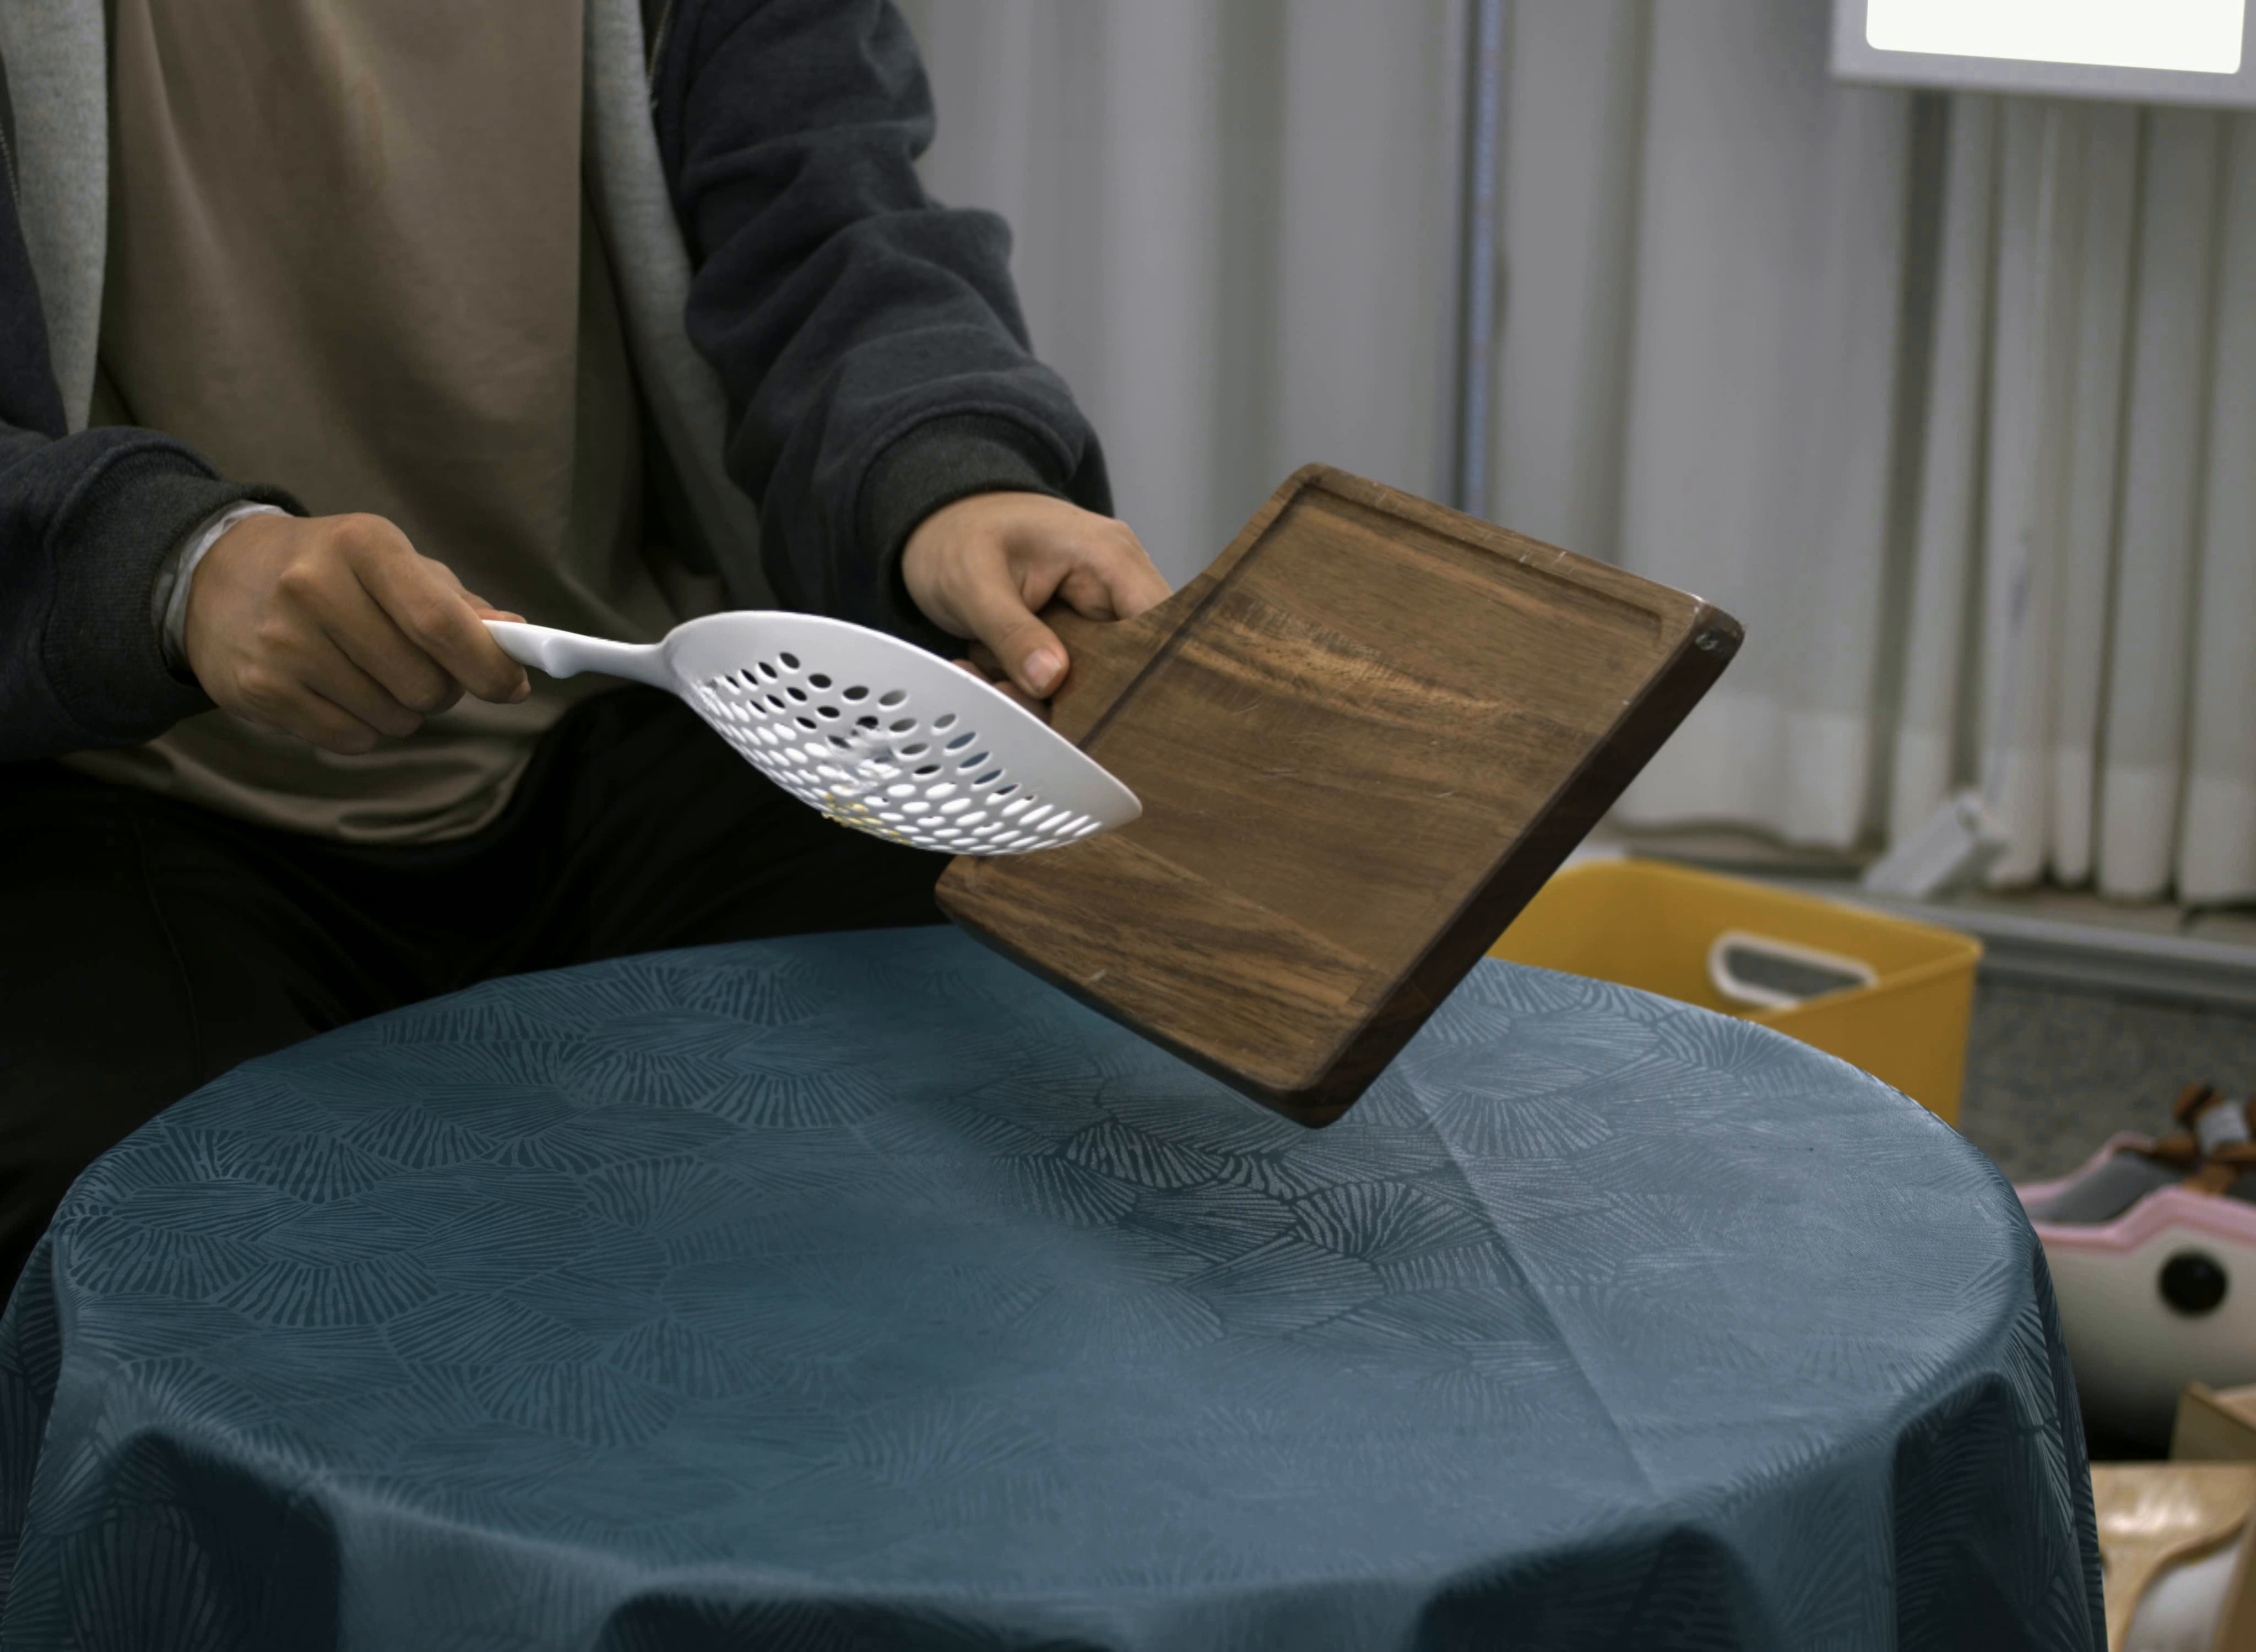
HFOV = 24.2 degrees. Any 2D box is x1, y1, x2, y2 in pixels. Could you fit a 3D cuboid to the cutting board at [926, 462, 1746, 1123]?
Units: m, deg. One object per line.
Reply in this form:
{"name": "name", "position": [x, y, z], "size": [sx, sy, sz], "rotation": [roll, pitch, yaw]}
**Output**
{"name": "cutting board", "position": [0.035, -0.029, 1.670], "size": [0.201, 0.023, 0.348], "rotation": [-49, 30, -9]}

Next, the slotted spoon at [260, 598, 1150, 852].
{"name": "slotted spoon", "position": [-0.143, -0.040, 1.619], "size": [0.343, 0.050, 0.138], "rotation": [16, -14, 41]}
